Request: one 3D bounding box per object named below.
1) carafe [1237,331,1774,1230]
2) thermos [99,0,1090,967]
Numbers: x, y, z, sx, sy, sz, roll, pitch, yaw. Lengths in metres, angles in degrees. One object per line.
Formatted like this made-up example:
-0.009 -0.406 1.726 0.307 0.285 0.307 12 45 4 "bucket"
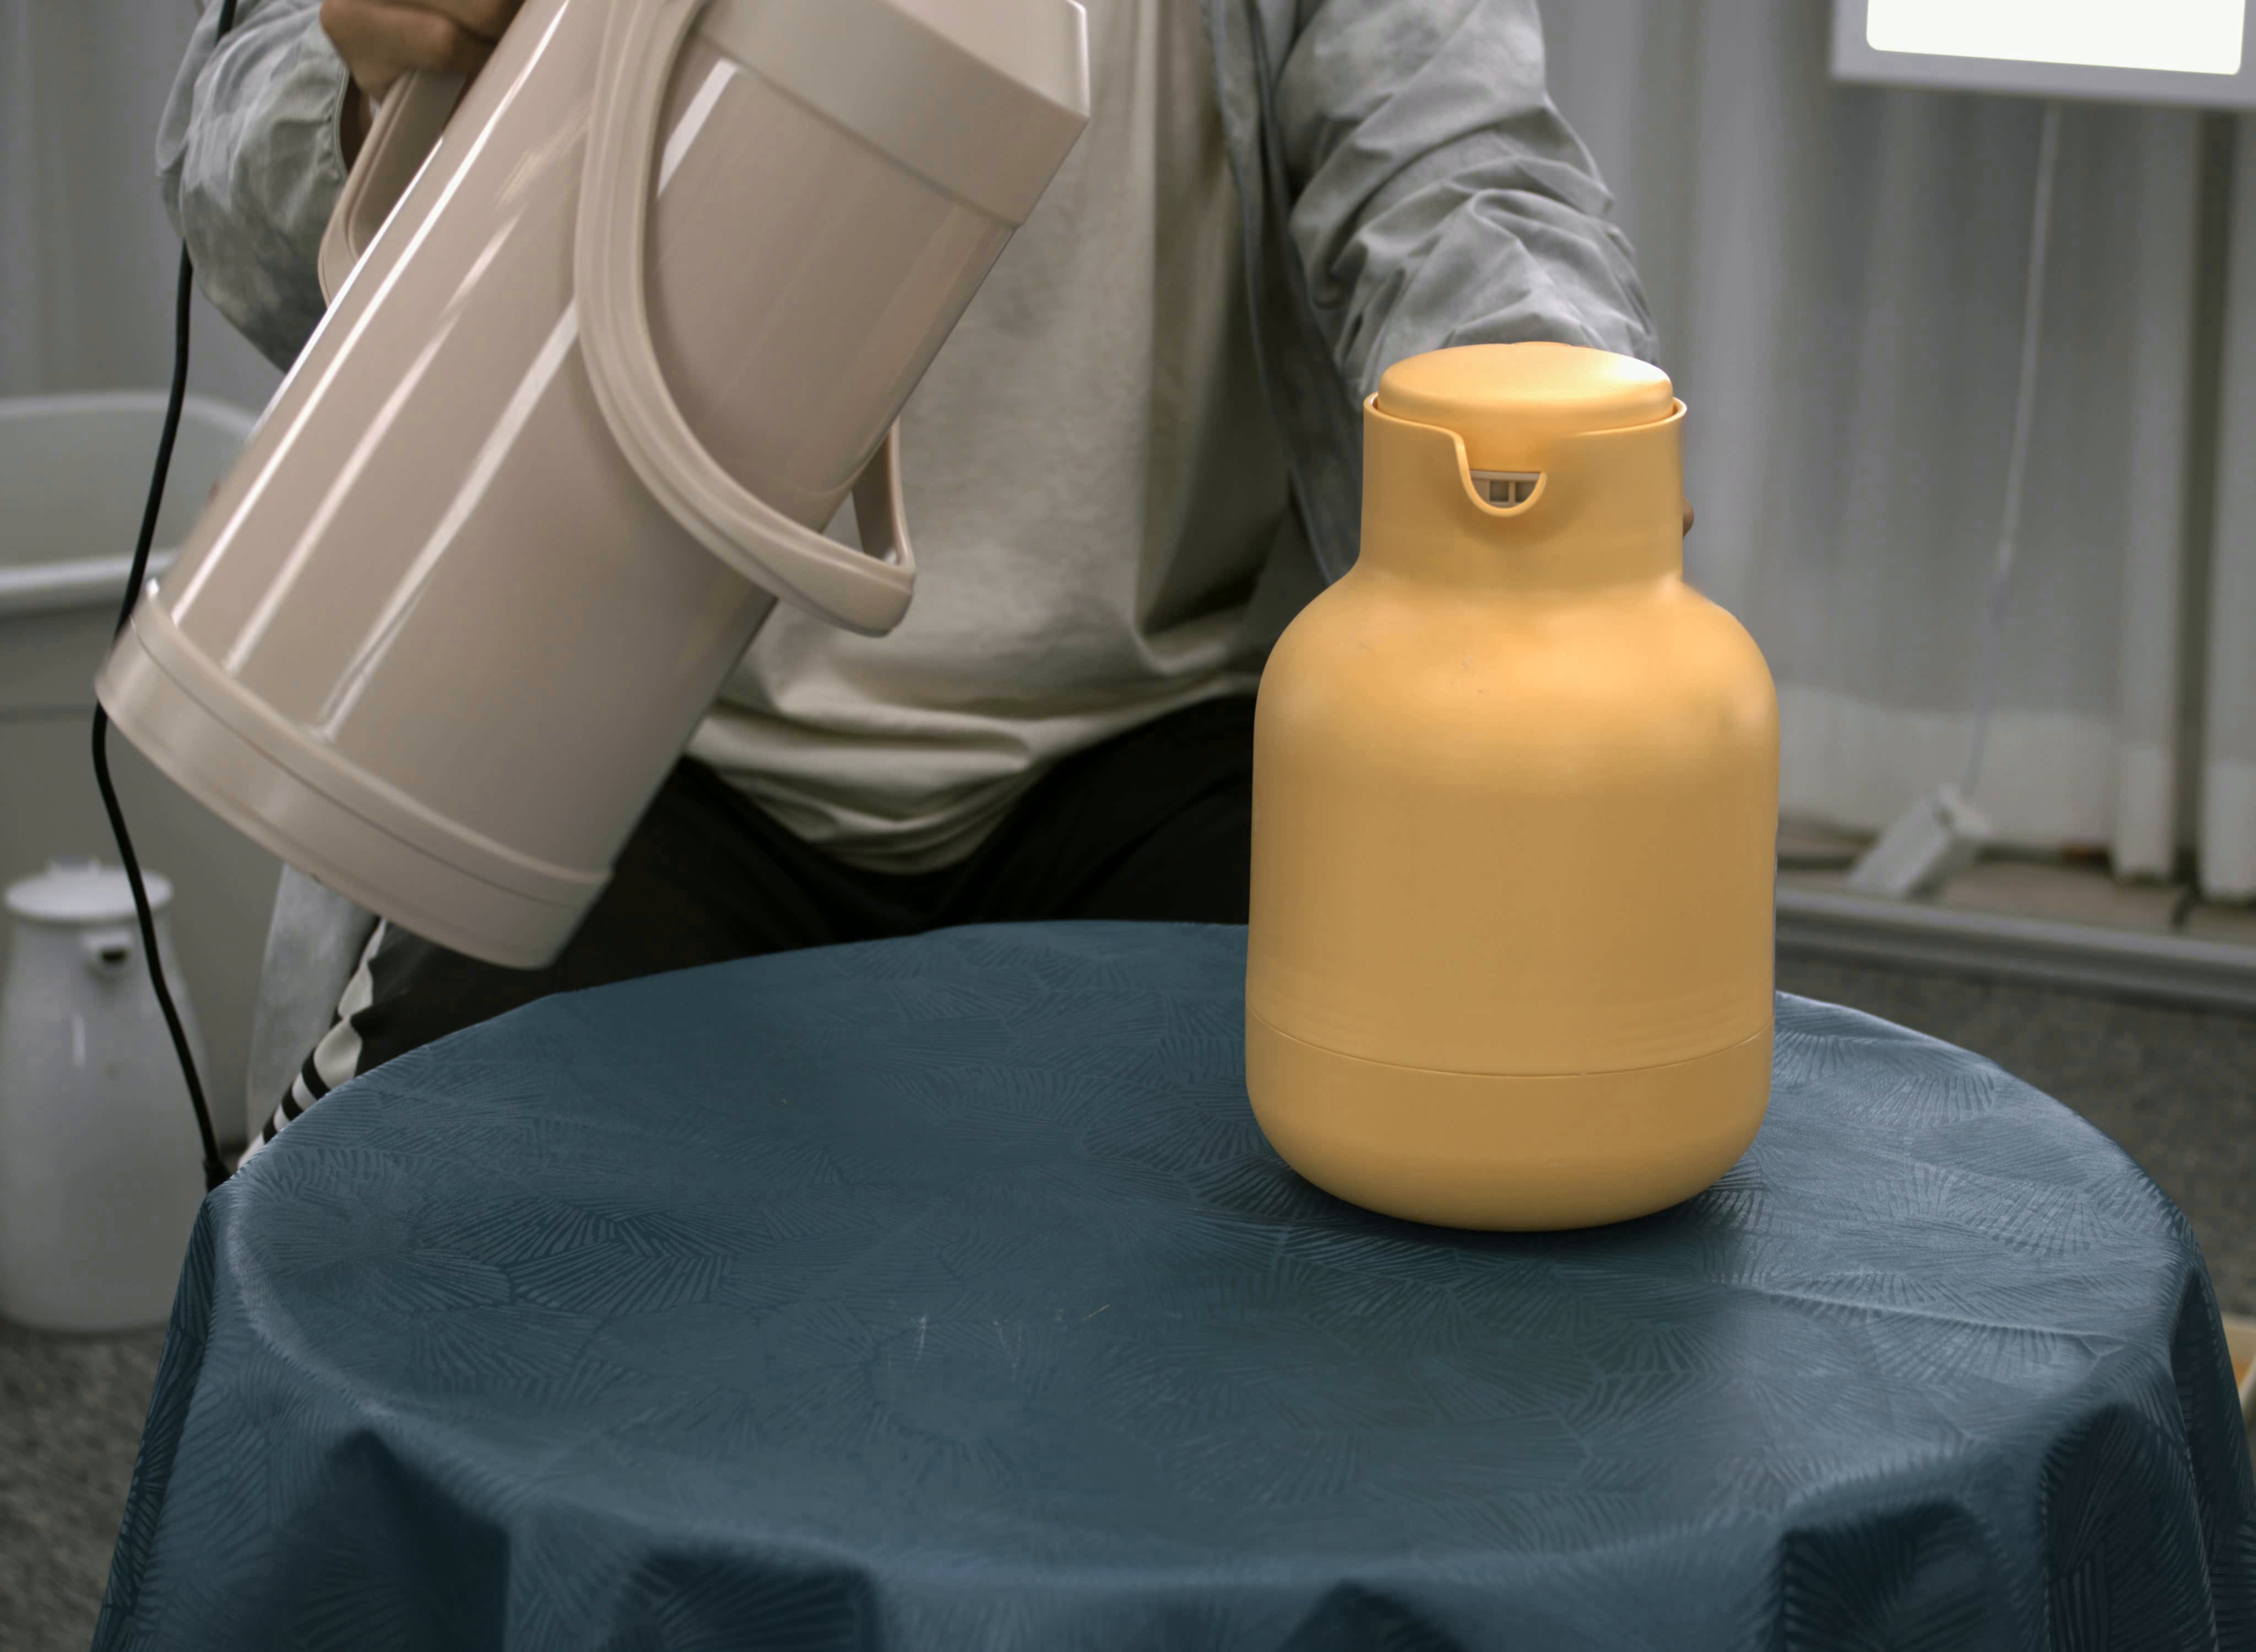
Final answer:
0.121 -0.022 1.624 0.162 0.262 0.202 5 17 9 "carafe"
-0.139 -0.174 1.530 0.204 0.407 0.177 37 11 26 "thermos"
